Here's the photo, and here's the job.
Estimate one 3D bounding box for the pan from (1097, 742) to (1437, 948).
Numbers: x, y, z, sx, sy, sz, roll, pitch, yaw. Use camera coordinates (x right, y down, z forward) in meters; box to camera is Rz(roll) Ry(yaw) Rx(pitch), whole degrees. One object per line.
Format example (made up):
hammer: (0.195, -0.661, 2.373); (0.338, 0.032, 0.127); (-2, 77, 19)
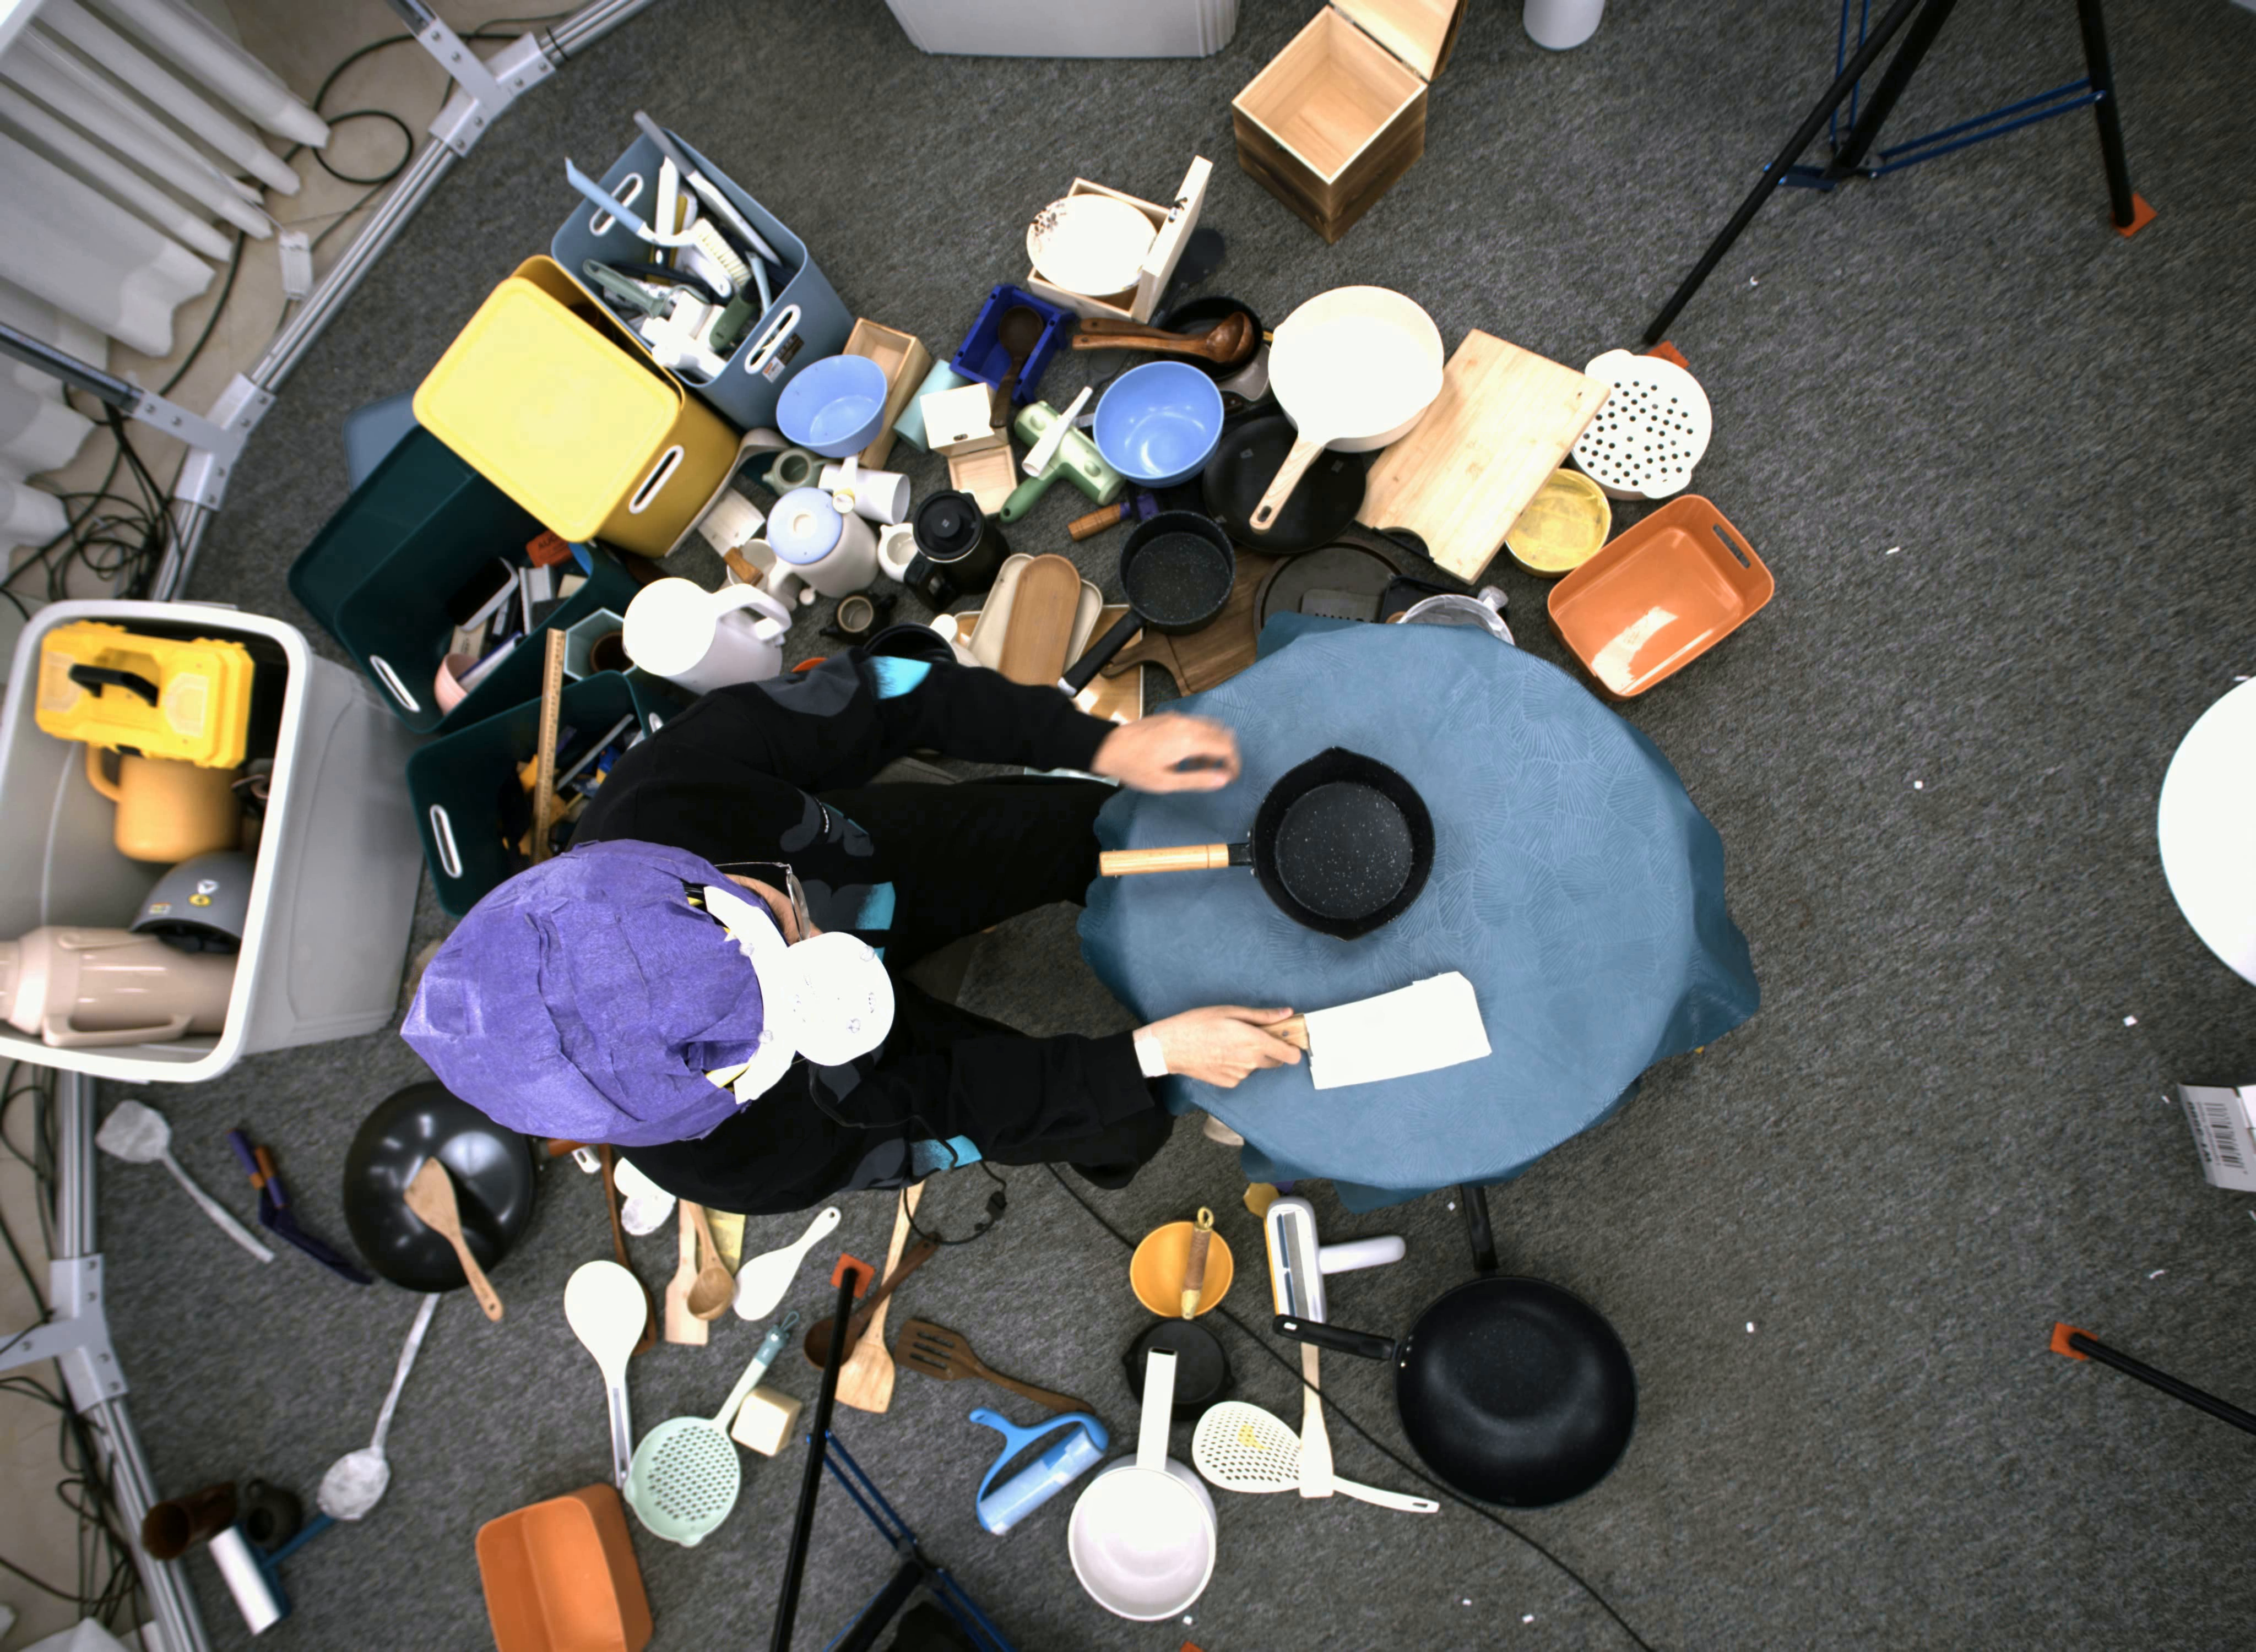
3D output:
pan: (0.143, 0.029, 1.430); (0.344, 0.108, 0.206); (-7, 86, 9)

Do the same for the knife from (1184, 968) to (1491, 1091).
knife: (0.215, 0.219, 1.440); (0.317, 0.021, 0.115); (-10, 105, 8)
